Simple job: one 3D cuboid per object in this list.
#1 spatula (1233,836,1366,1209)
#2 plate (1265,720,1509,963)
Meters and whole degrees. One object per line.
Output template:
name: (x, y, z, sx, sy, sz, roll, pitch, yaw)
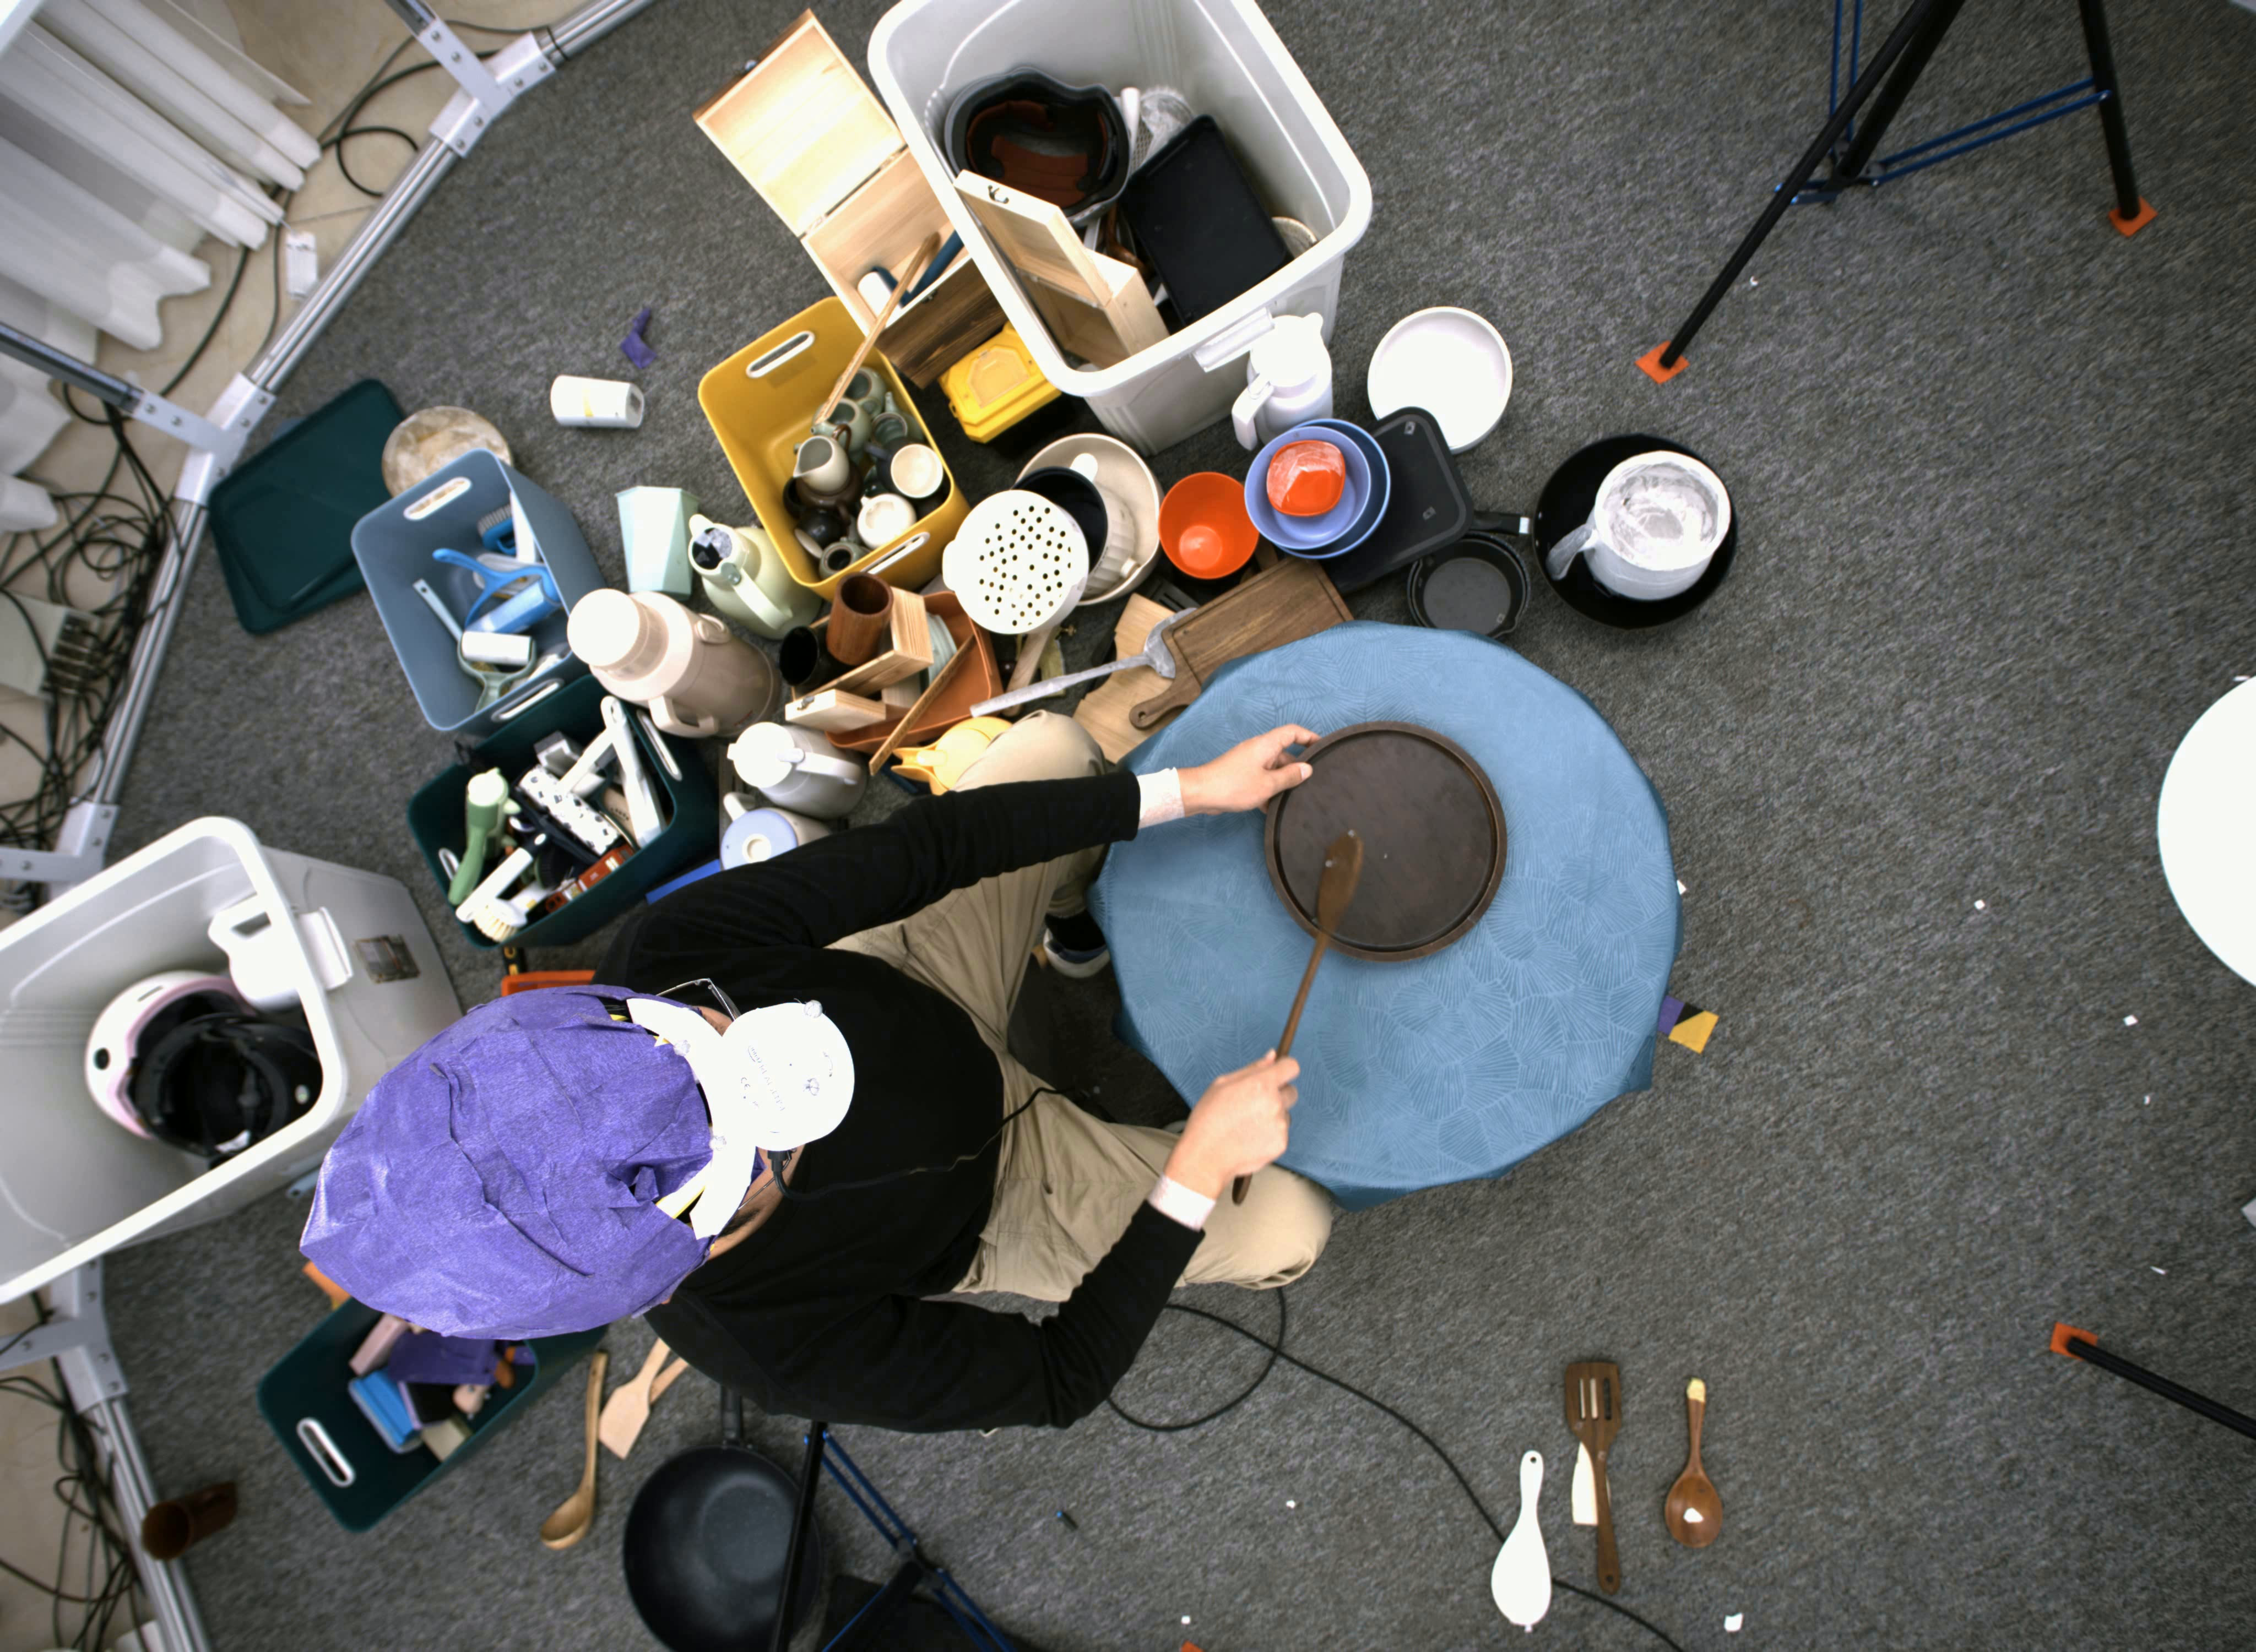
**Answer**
spatula: (0.167, 0.188, 1.365, 0.016, 0.097, 0.382, 22, 80, -8)
plate: (0.268, 0.014, 1.438, 0.255, 0.029, 0.254, 0, 89, 2)
